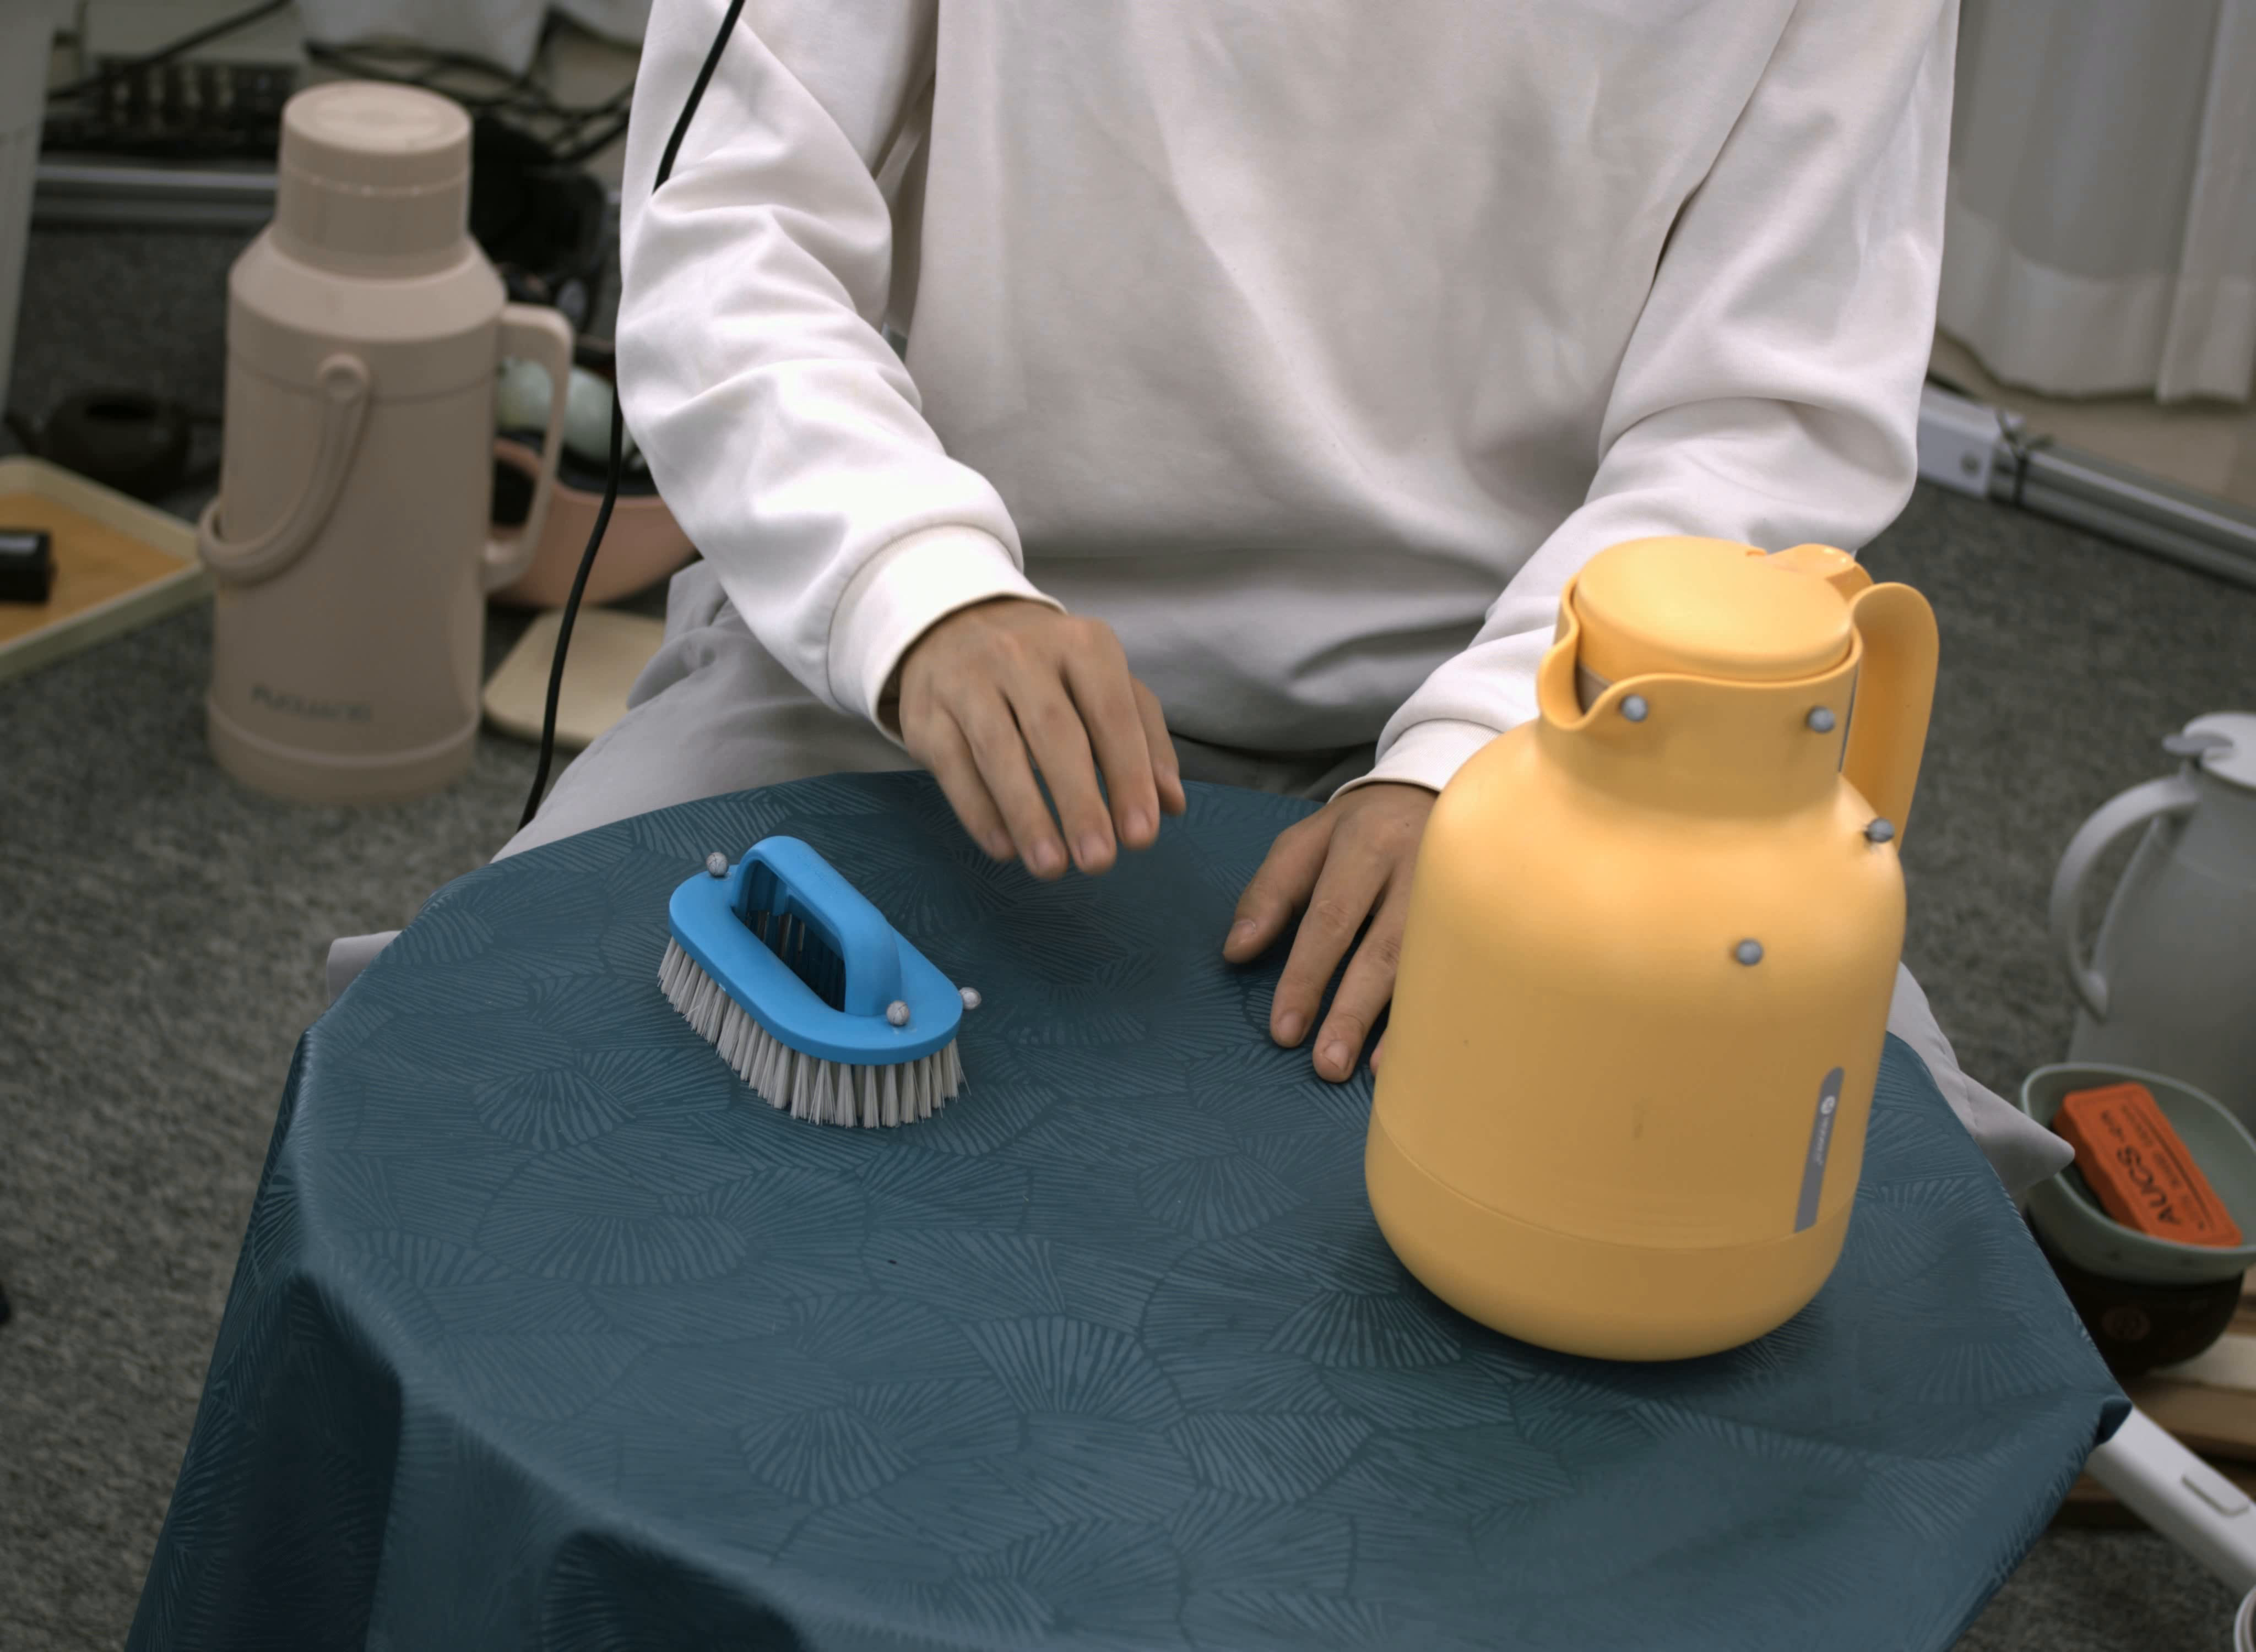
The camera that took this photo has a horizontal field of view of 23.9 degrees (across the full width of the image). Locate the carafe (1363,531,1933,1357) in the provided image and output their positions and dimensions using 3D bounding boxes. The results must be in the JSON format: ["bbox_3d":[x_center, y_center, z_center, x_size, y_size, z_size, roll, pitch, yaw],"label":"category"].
[{"bbox_3d":[0.185,0.030,1.748,0.201,0.259,0.165,-20,39,-40],"label":"carafe"}]

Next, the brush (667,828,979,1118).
[{"bbox_3d":[-0.109,0.043,1.867,0.084,0.063,0.143,-14,32,-26],"label":"brush"}]
